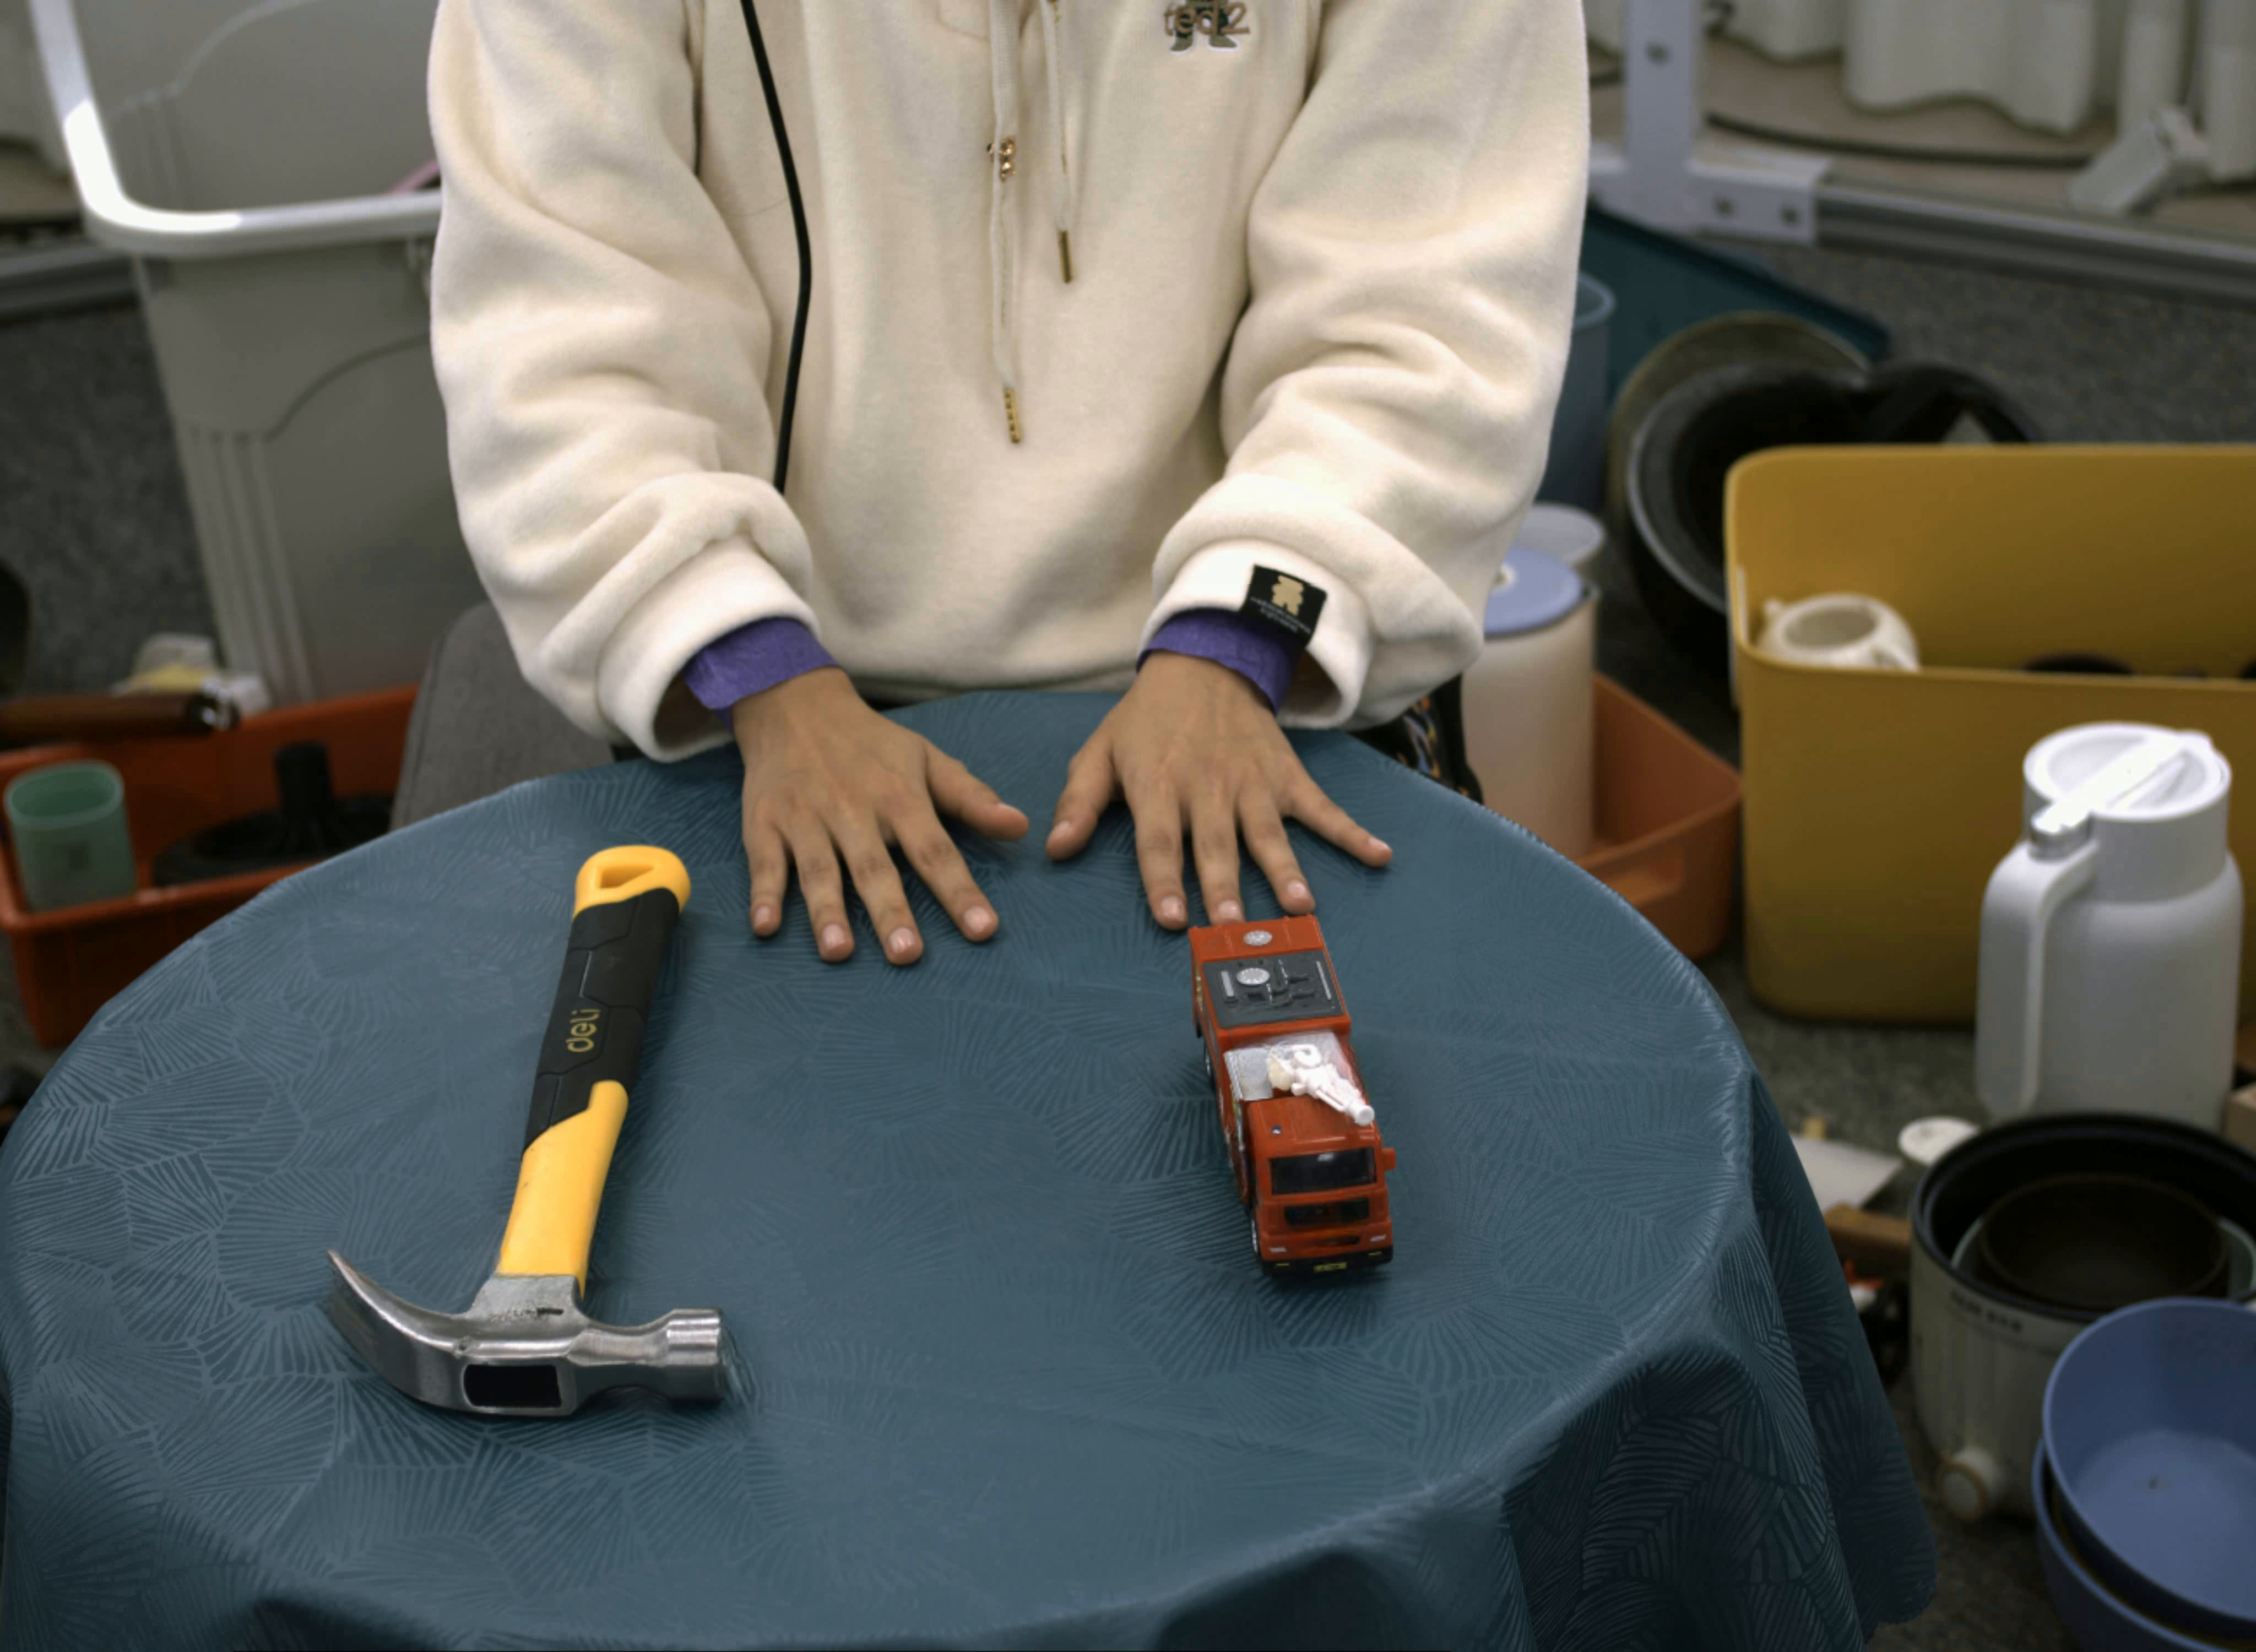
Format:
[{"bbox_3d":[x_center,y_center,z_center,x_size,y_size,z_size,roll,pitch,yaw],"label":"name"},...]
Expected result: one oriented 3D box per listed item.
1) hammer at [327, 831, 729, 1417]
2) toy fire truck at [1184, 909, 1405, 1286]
[{"bbox_3d":[-0.185,0.093,1.895,0.130,0.032,0.344,-2,28,4],"label":"hammer"},{"bbox_3d":[0.054,0.088,1.857,0.054,0.069,0.170,-6,26,-6],"label":"toy fire truck"}]
